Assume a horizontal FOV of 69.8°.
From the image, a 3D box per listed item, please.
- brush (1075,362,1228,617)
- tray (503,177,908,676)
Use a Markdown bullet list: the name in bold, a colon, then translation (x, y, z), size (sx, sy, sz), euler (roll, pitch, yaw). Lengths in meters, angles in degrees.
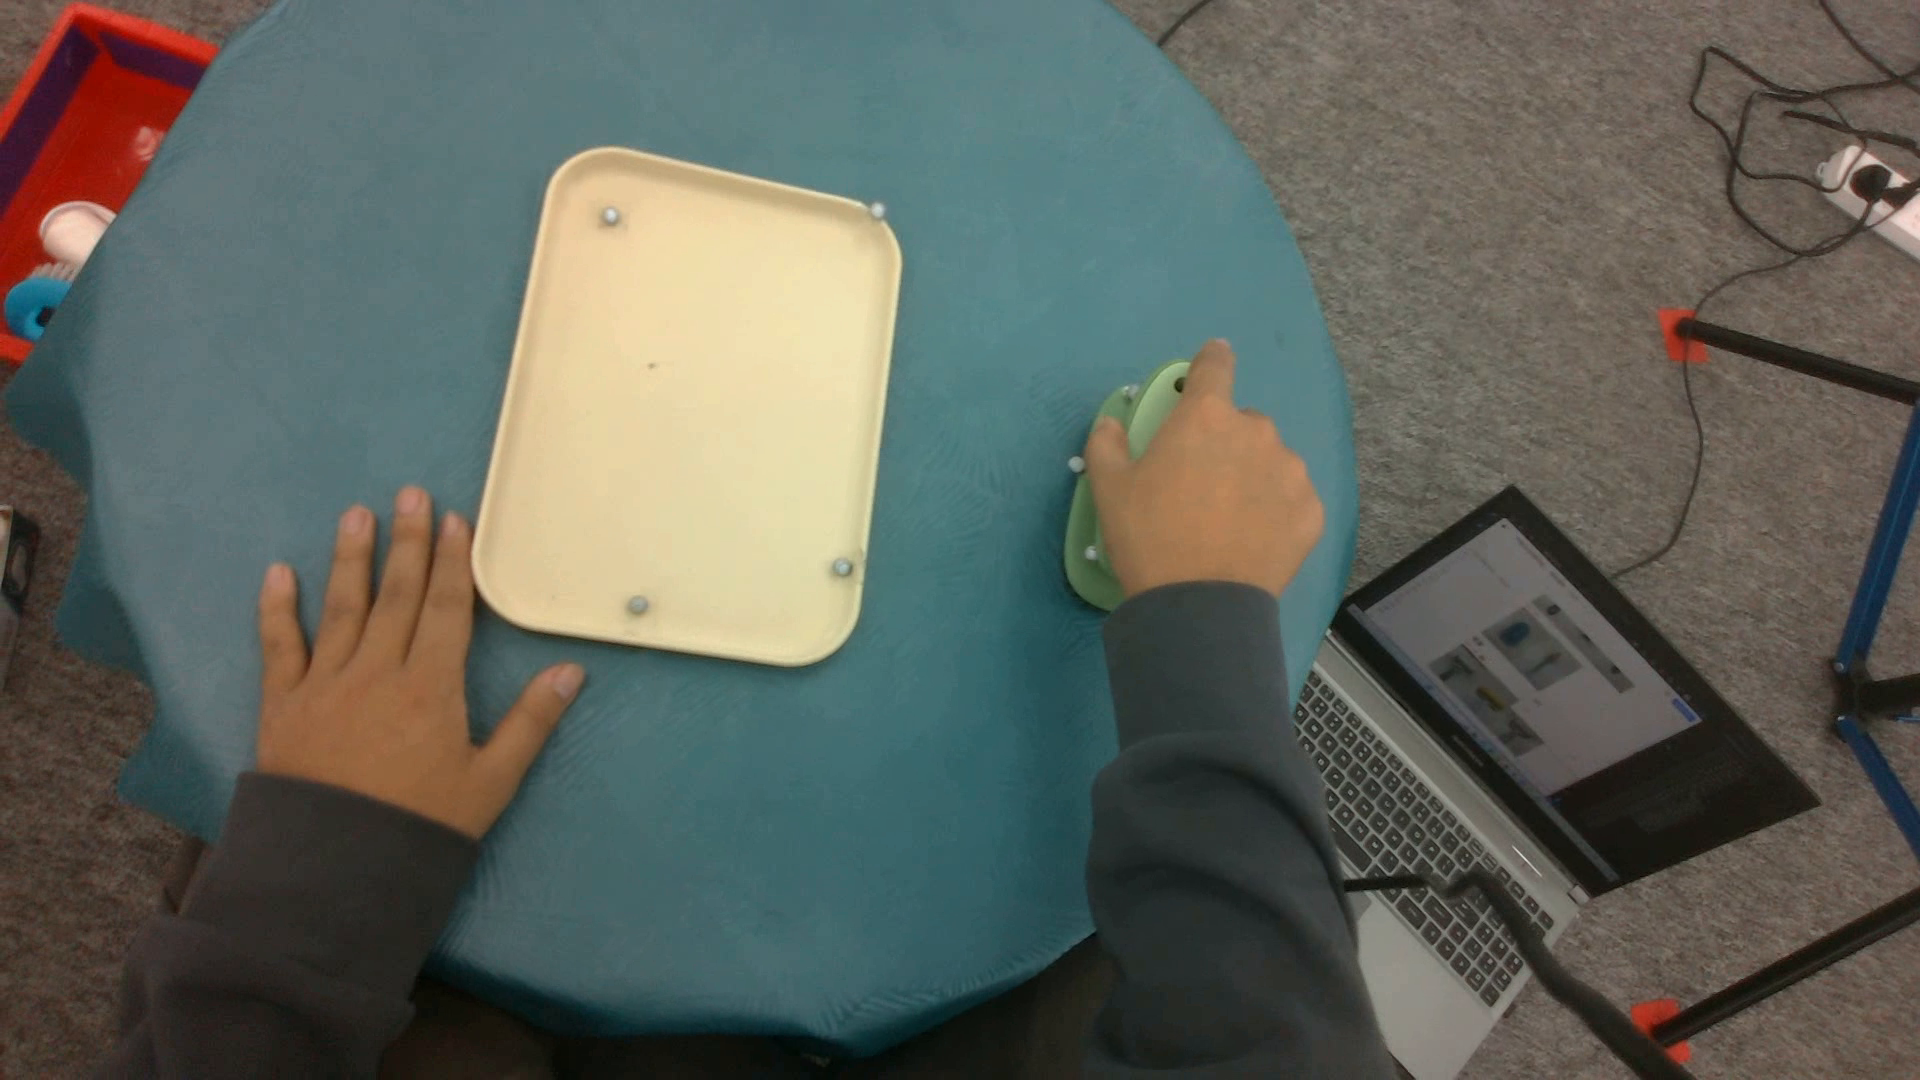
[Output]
- **brush**: translation (0.093, -0.023, 0.680), size (0.059, 0.075, 0.123), euler (15, 85, -6)
- **tray**: translation (-0.116, -0.057, 0.661), size (0.171, 0.017, 0.240), euler (8, 72, -10)
